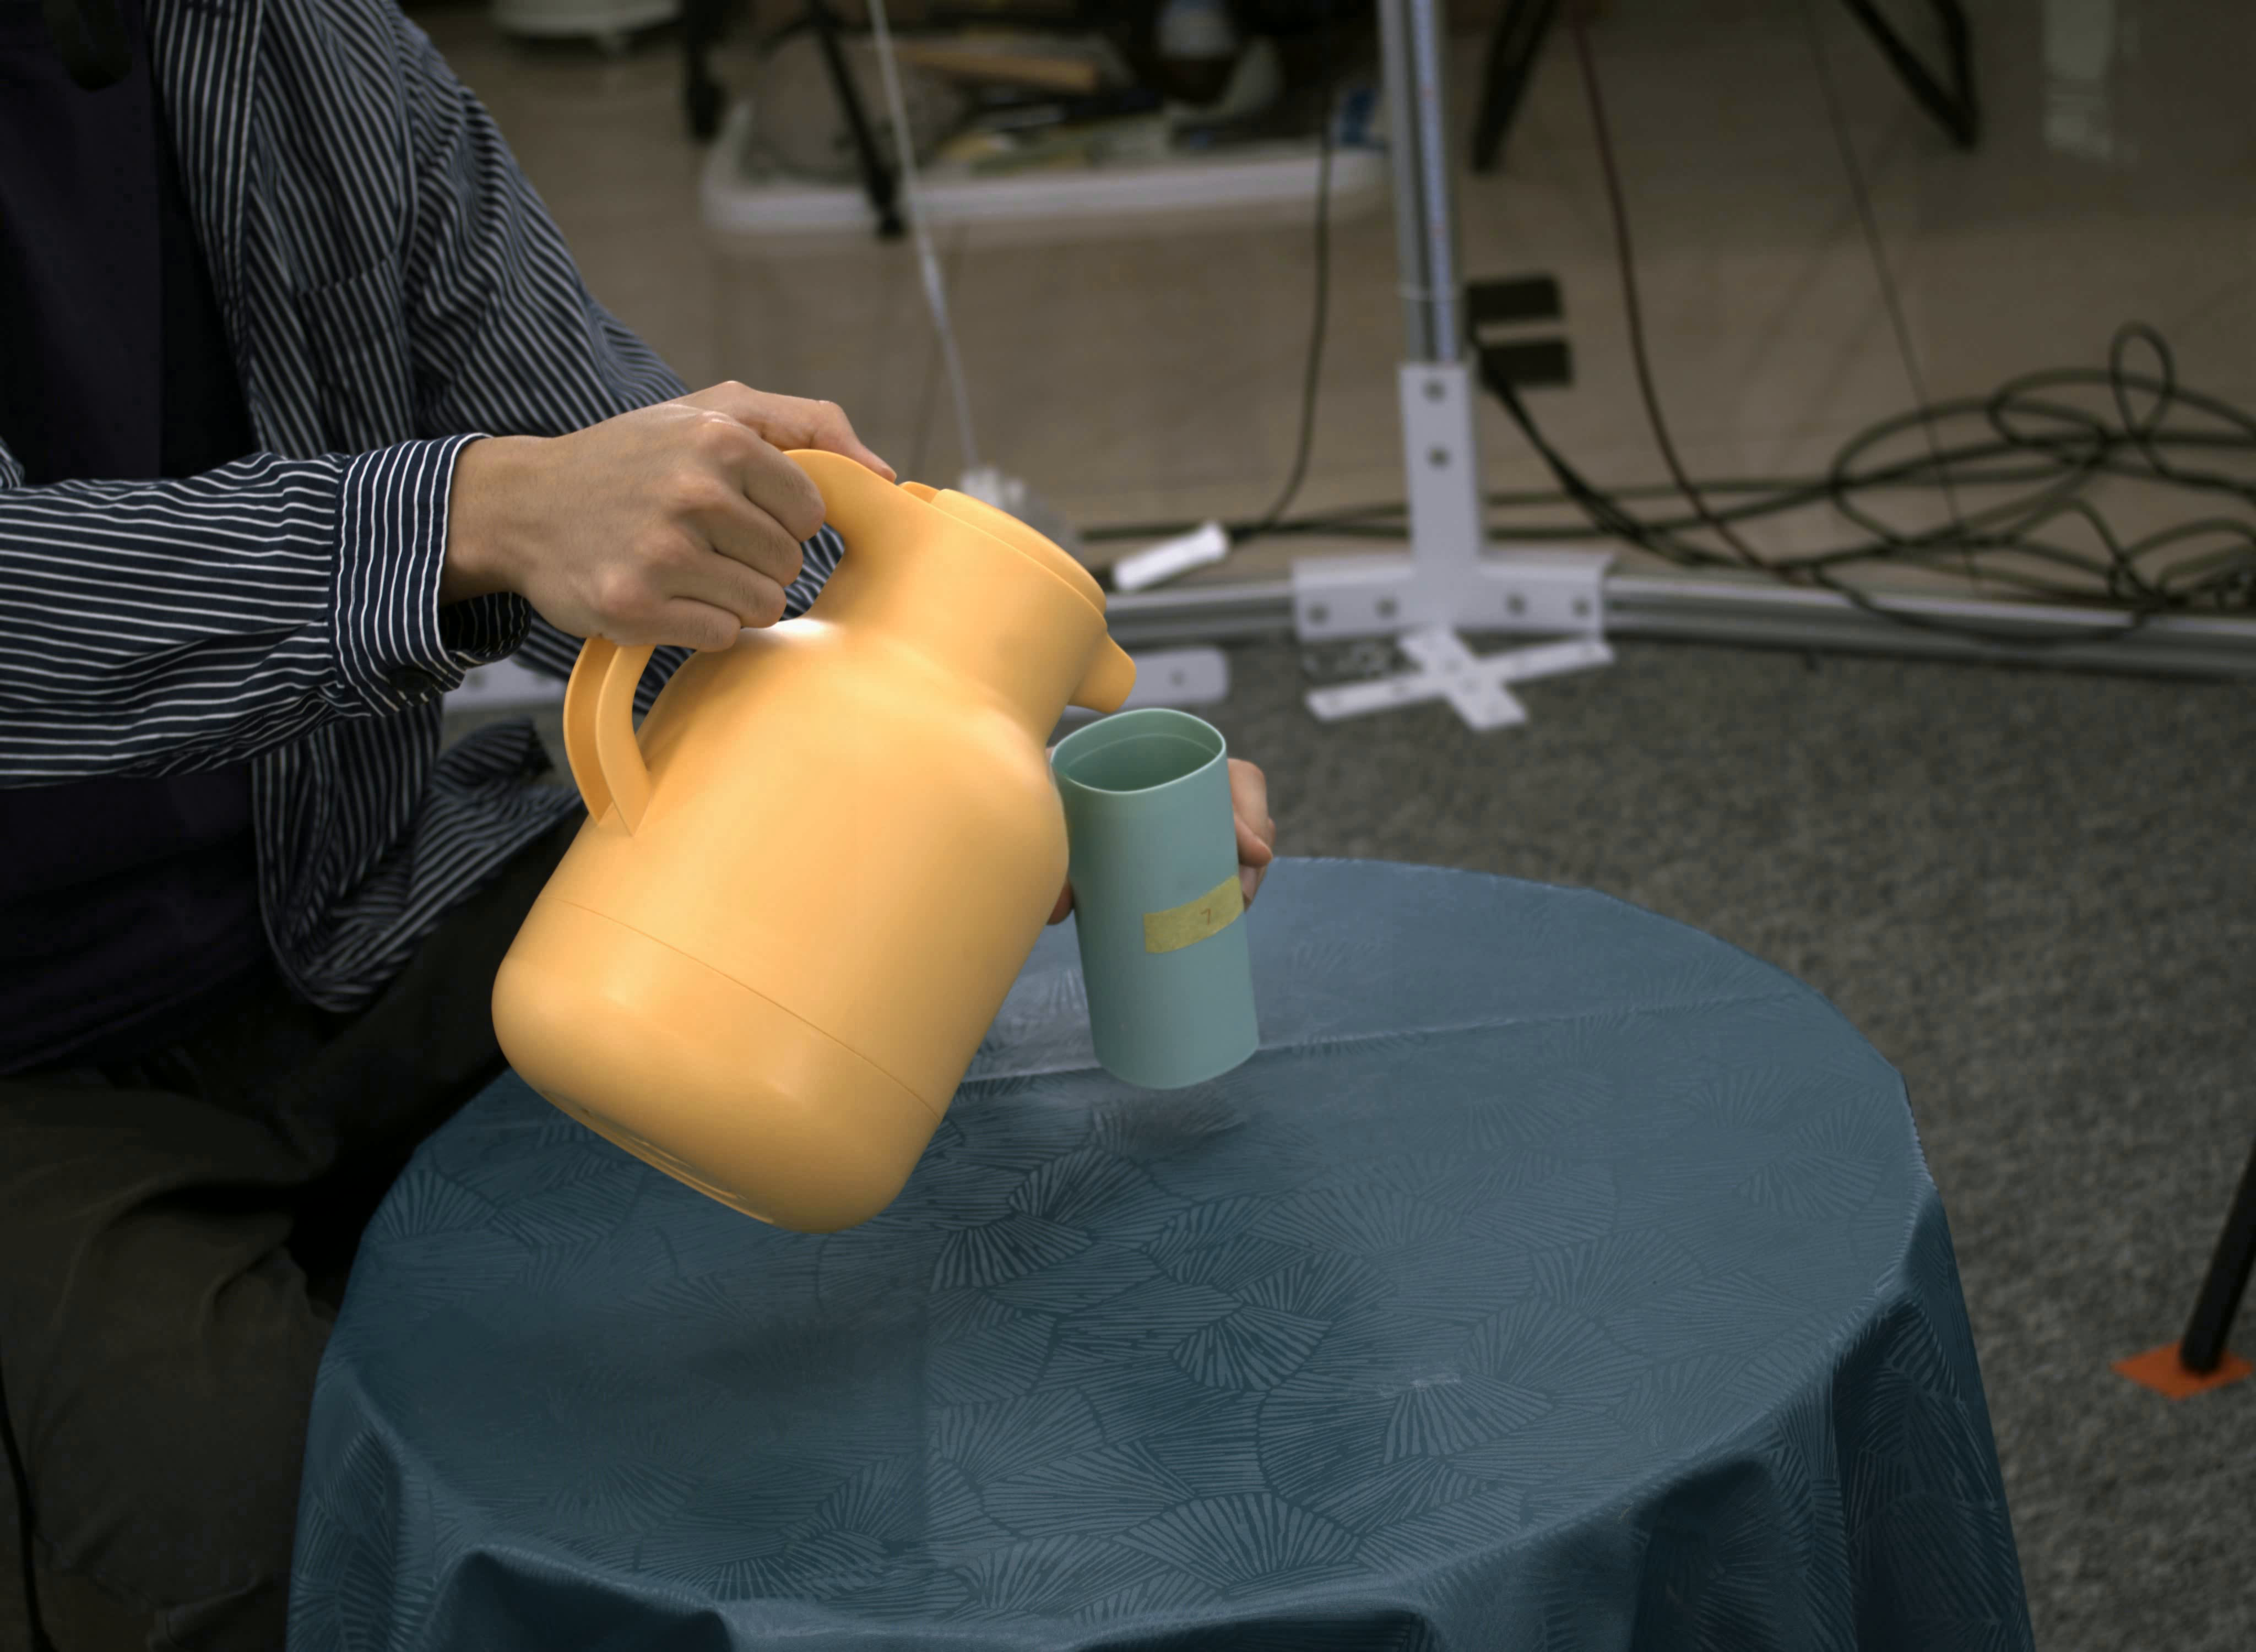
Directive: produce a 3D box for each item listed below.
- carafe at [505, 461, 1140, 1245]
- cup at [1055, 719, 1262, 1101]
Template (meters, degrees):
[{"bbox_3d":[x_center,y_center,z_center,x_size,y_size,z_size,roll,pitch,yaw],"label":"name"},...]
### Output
[{"bbox_3d":[-0.115,0.000,2.019,0.162,0.204,0.259,16,74,53],"label":"carafe"},{"bbox_3d":[0.012,0.031,2.152,0.066,0.134,0.065,-6,31,3],"label":"cup"}]
